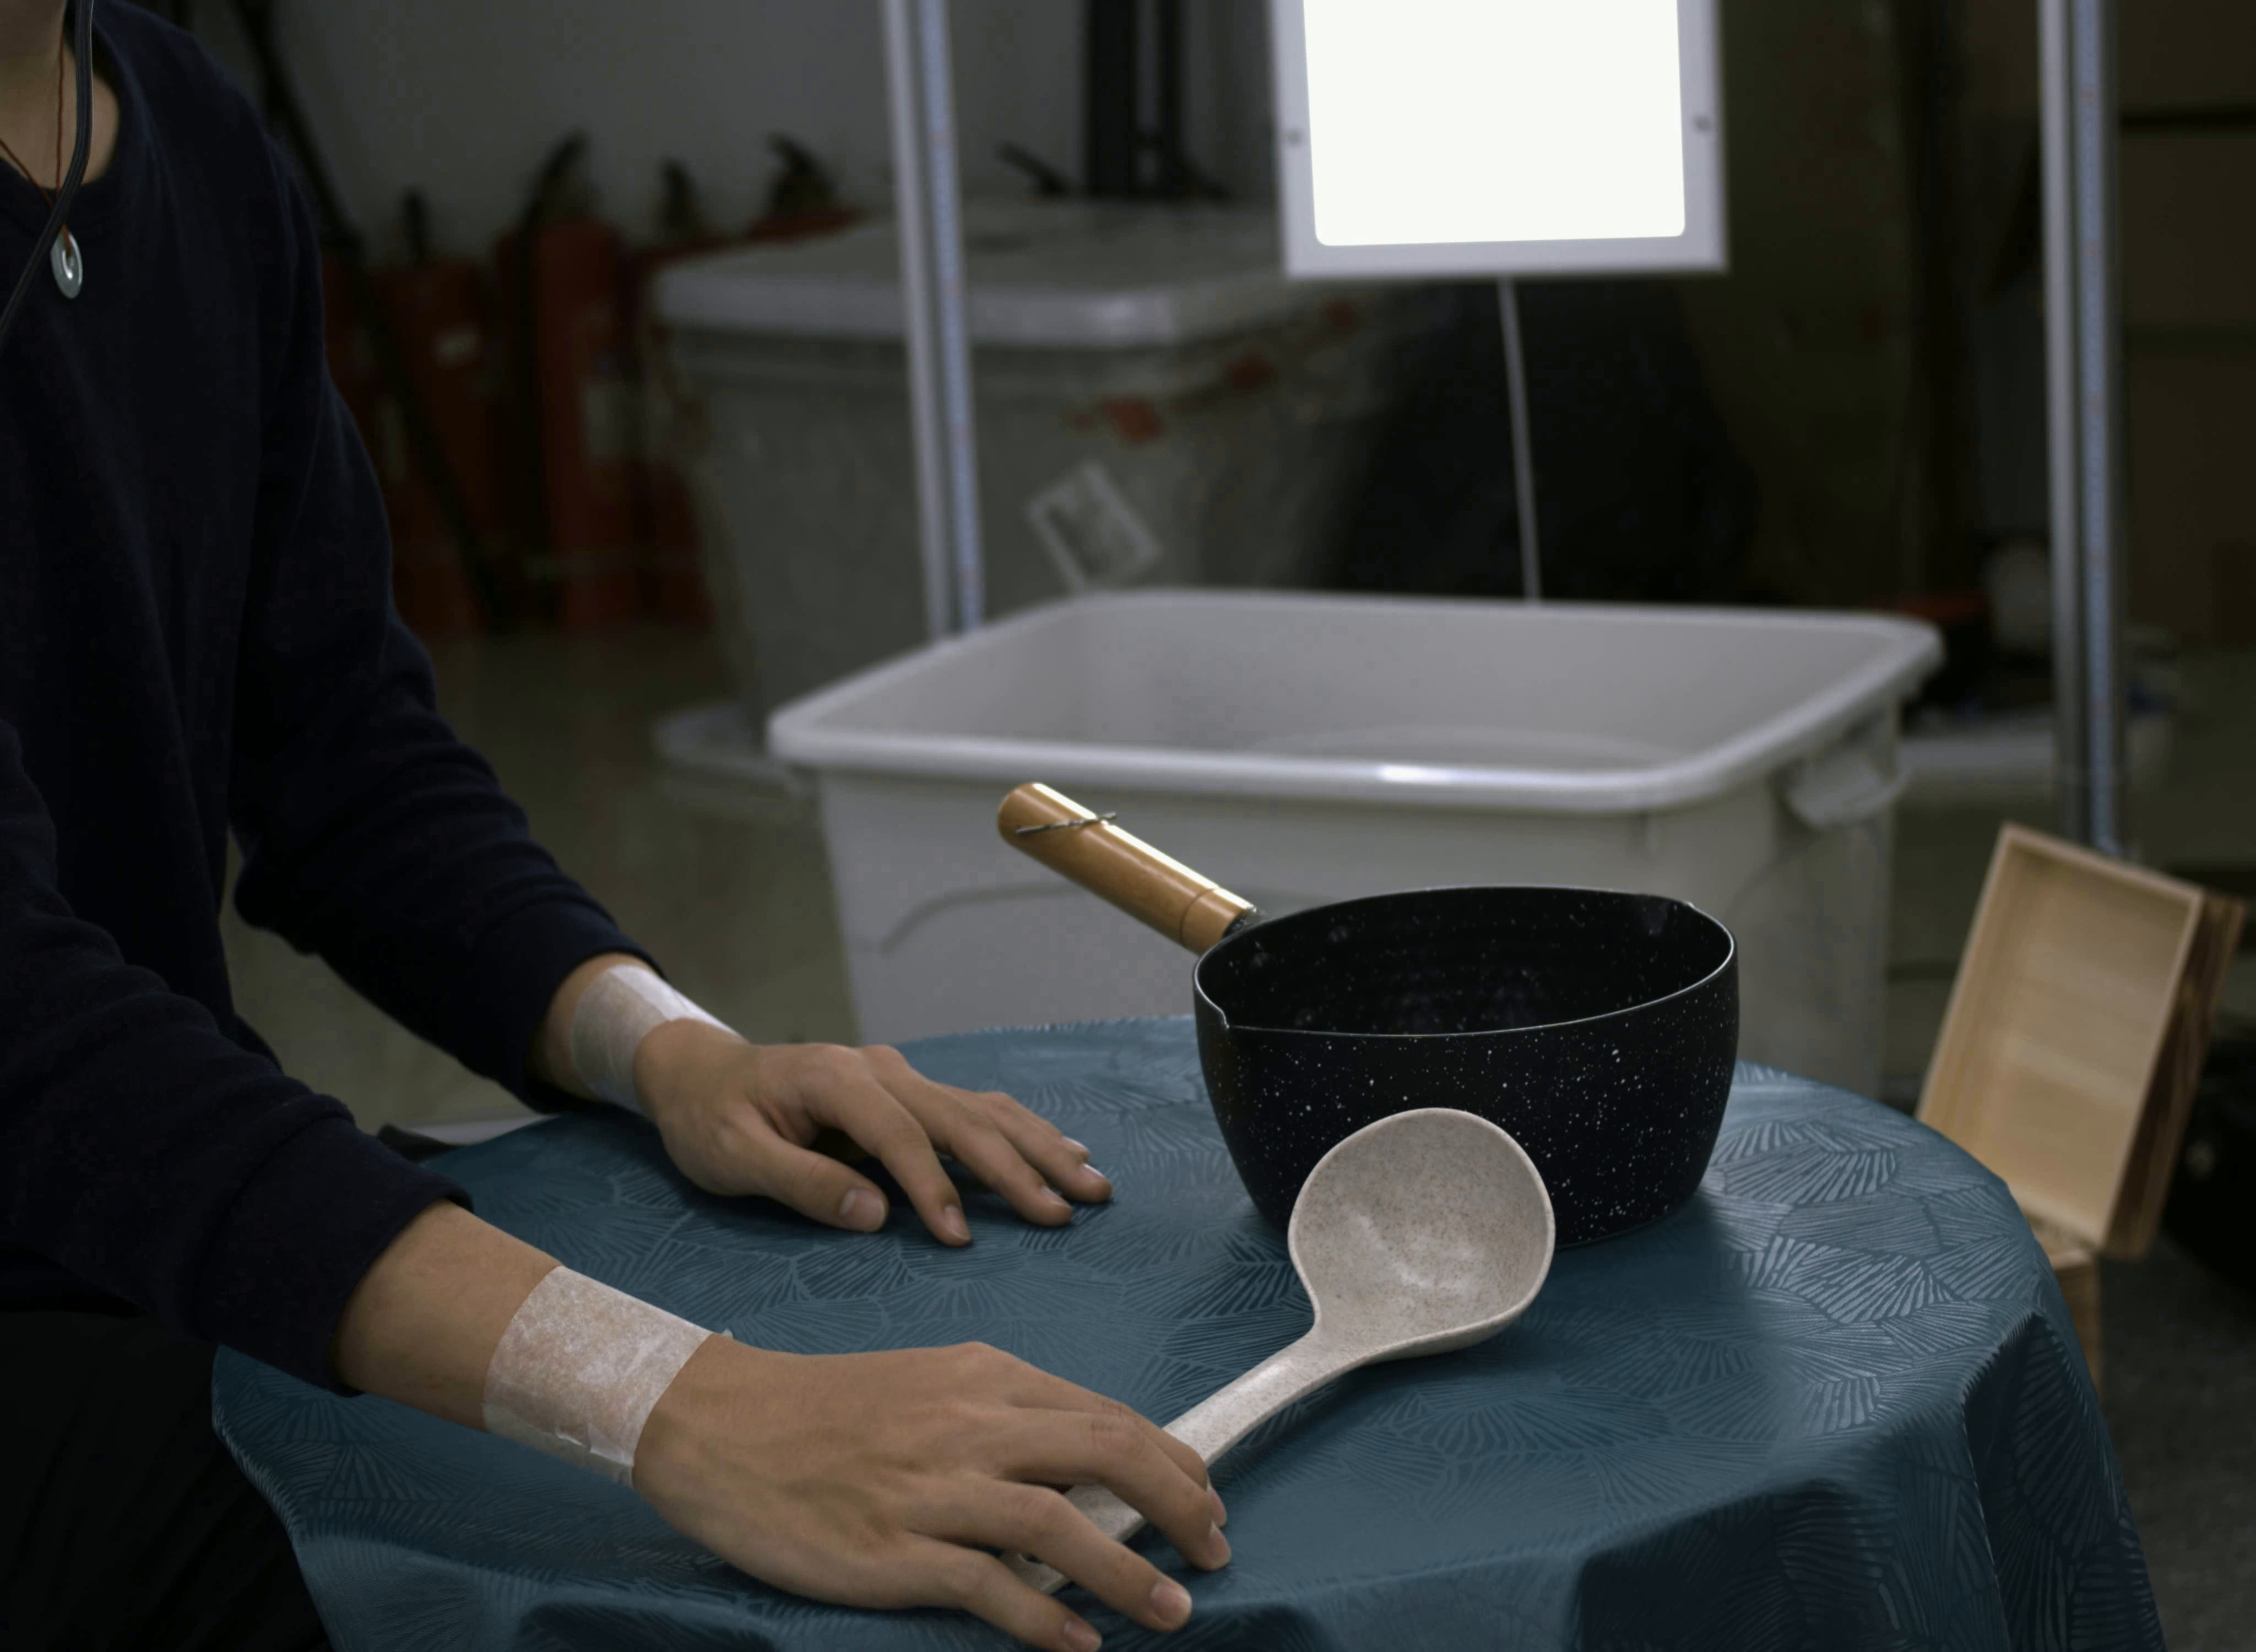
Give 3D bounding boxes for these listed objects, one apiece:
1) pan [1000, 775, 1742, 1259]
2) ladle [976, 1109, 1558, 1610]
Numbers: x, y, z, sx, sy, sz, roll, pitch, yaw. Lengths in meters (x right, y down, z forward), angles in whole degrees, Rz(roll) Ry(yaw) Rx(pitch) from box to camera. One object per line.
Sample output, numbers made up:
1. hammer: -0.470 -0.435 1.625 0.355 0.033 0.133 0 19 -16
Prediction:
1. pan: 0.066 0.061 1.912 0.202 0.108 0.350 -17 19 -35
2. ladle: 0.037 0.153 1.628 0.091 0.070 0.268 20 24 27
